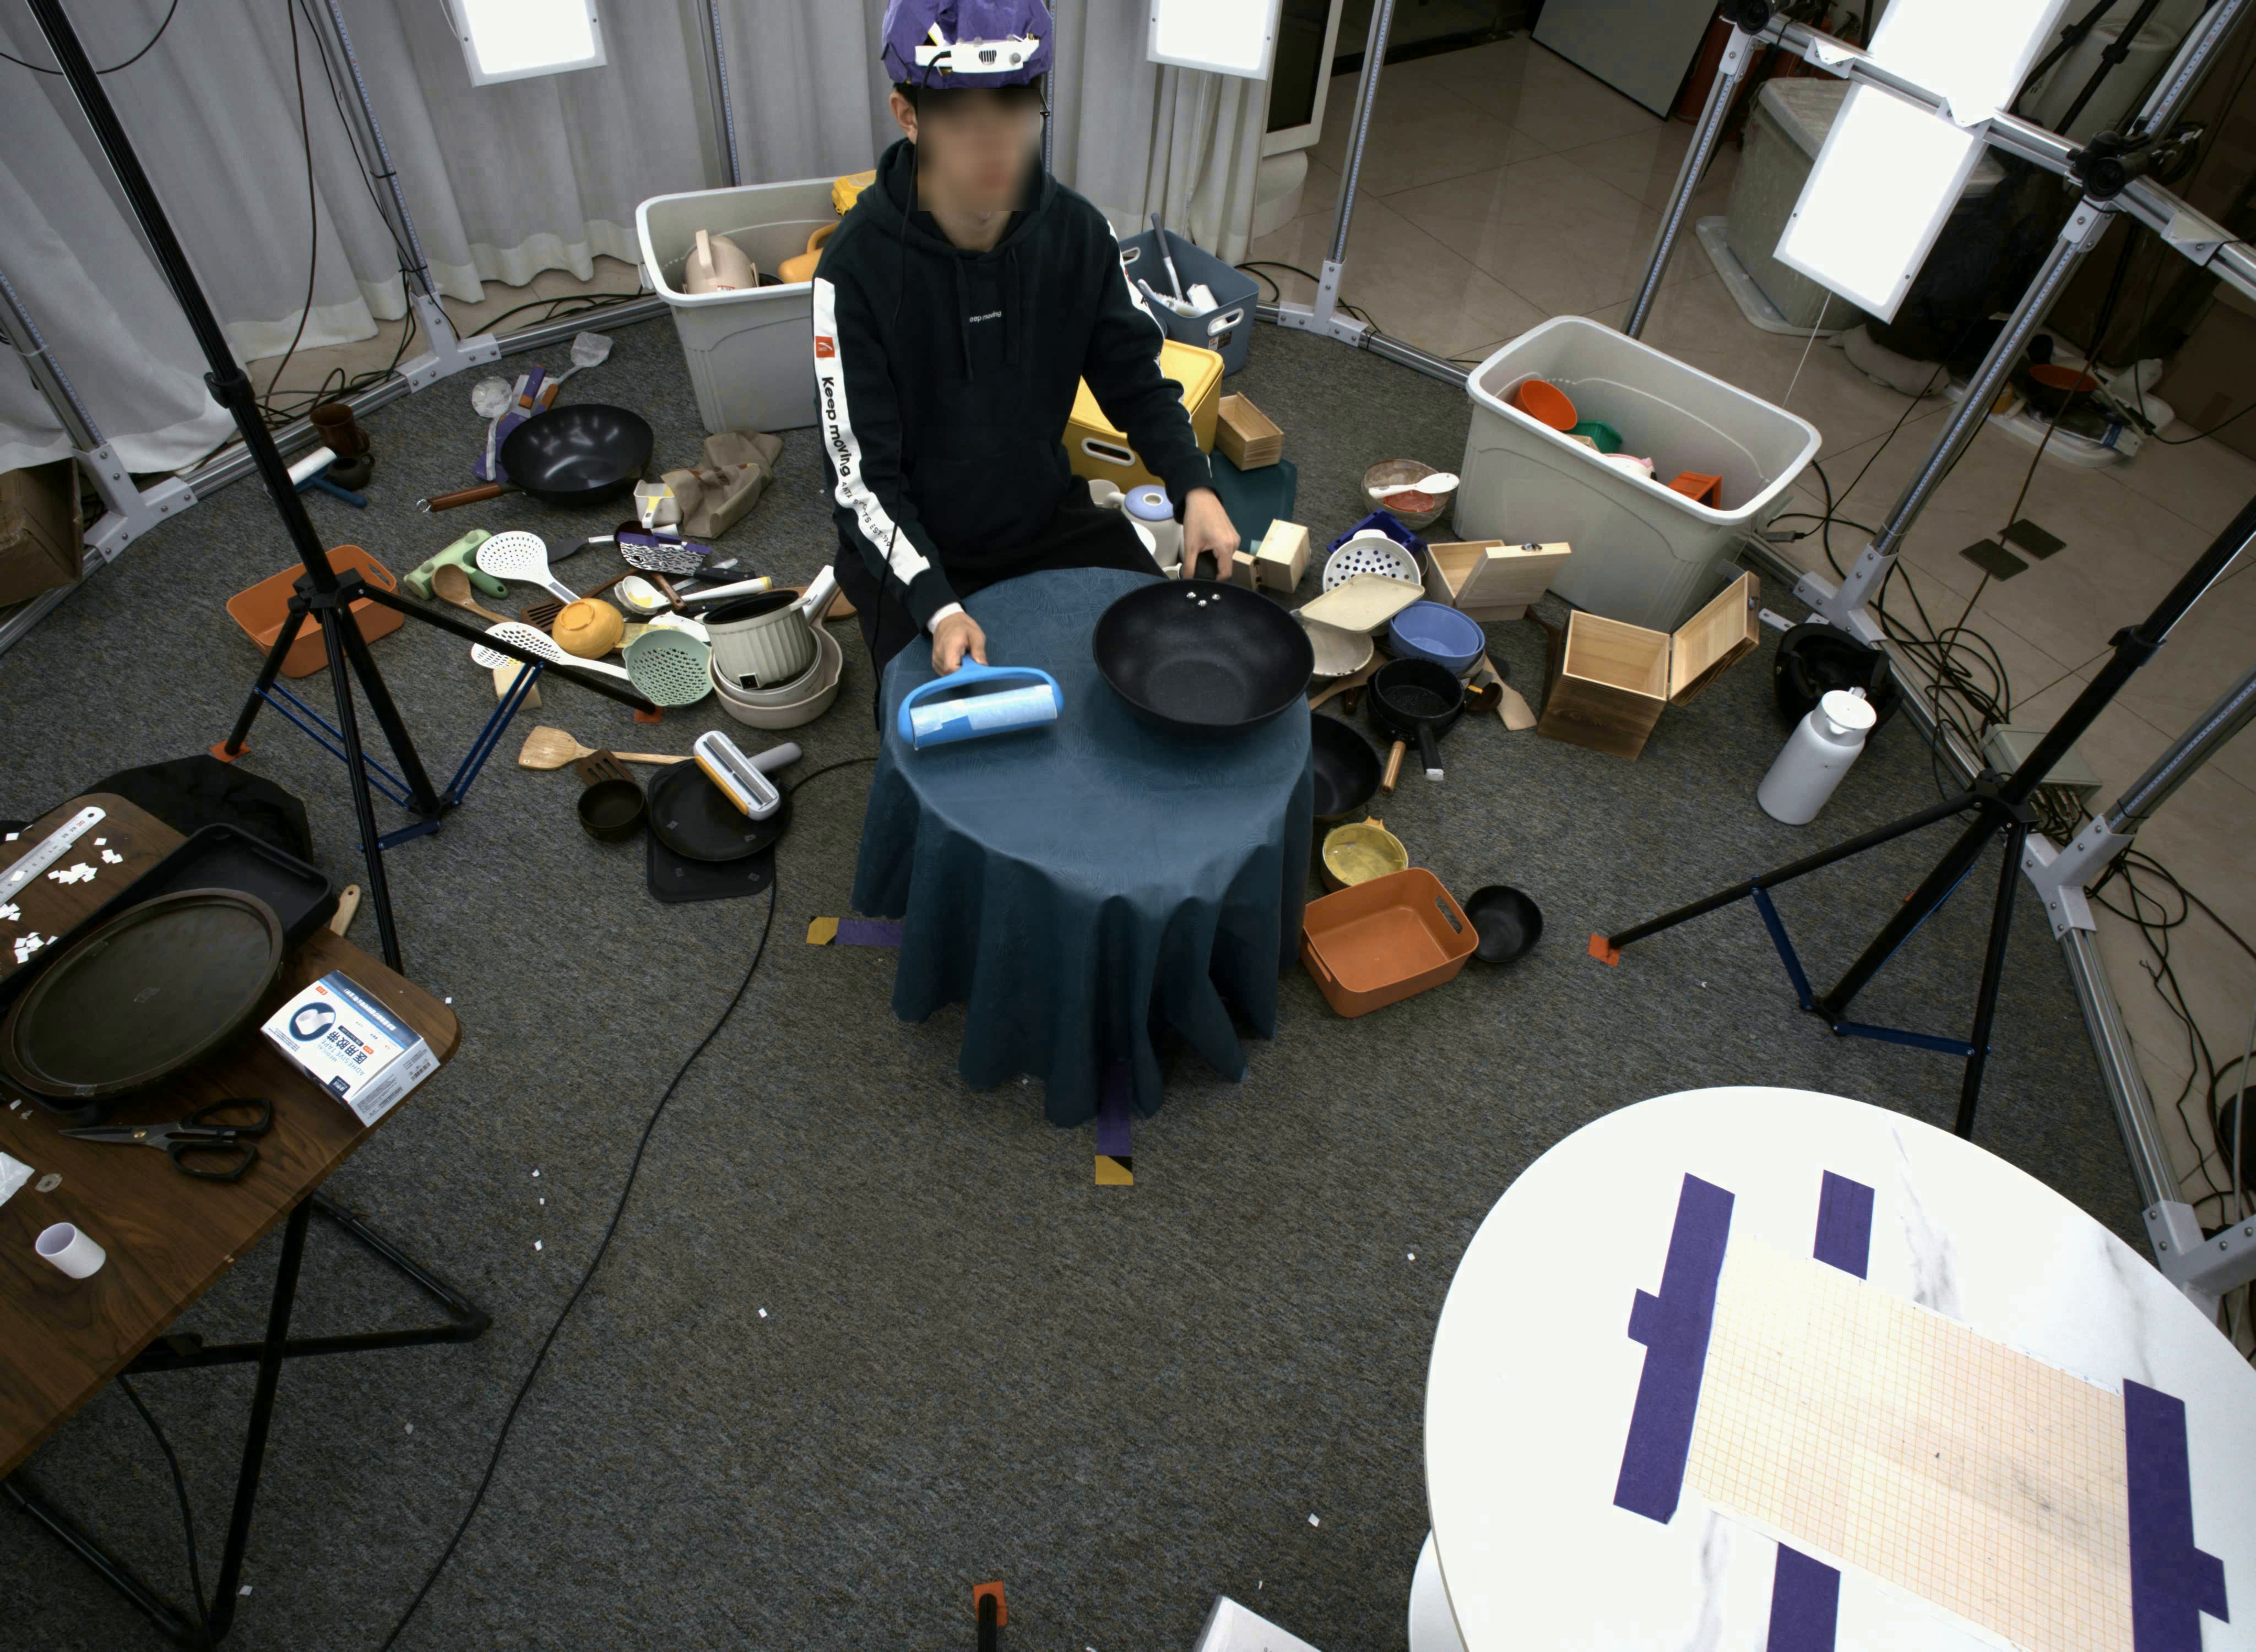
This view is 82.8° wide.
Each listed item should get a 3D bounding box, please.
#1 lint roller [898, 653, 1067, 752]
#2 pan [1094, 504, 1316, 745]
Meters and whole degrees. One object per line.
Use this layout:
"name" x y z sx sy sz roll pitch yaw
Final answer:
"lint roller" -0.214 -0.191 1.760 0.229 0.066 0.184 -16 52 -13
"pan" 0.108 -0.283 1.852 0.310 0.109 0.489 5 47 -2
